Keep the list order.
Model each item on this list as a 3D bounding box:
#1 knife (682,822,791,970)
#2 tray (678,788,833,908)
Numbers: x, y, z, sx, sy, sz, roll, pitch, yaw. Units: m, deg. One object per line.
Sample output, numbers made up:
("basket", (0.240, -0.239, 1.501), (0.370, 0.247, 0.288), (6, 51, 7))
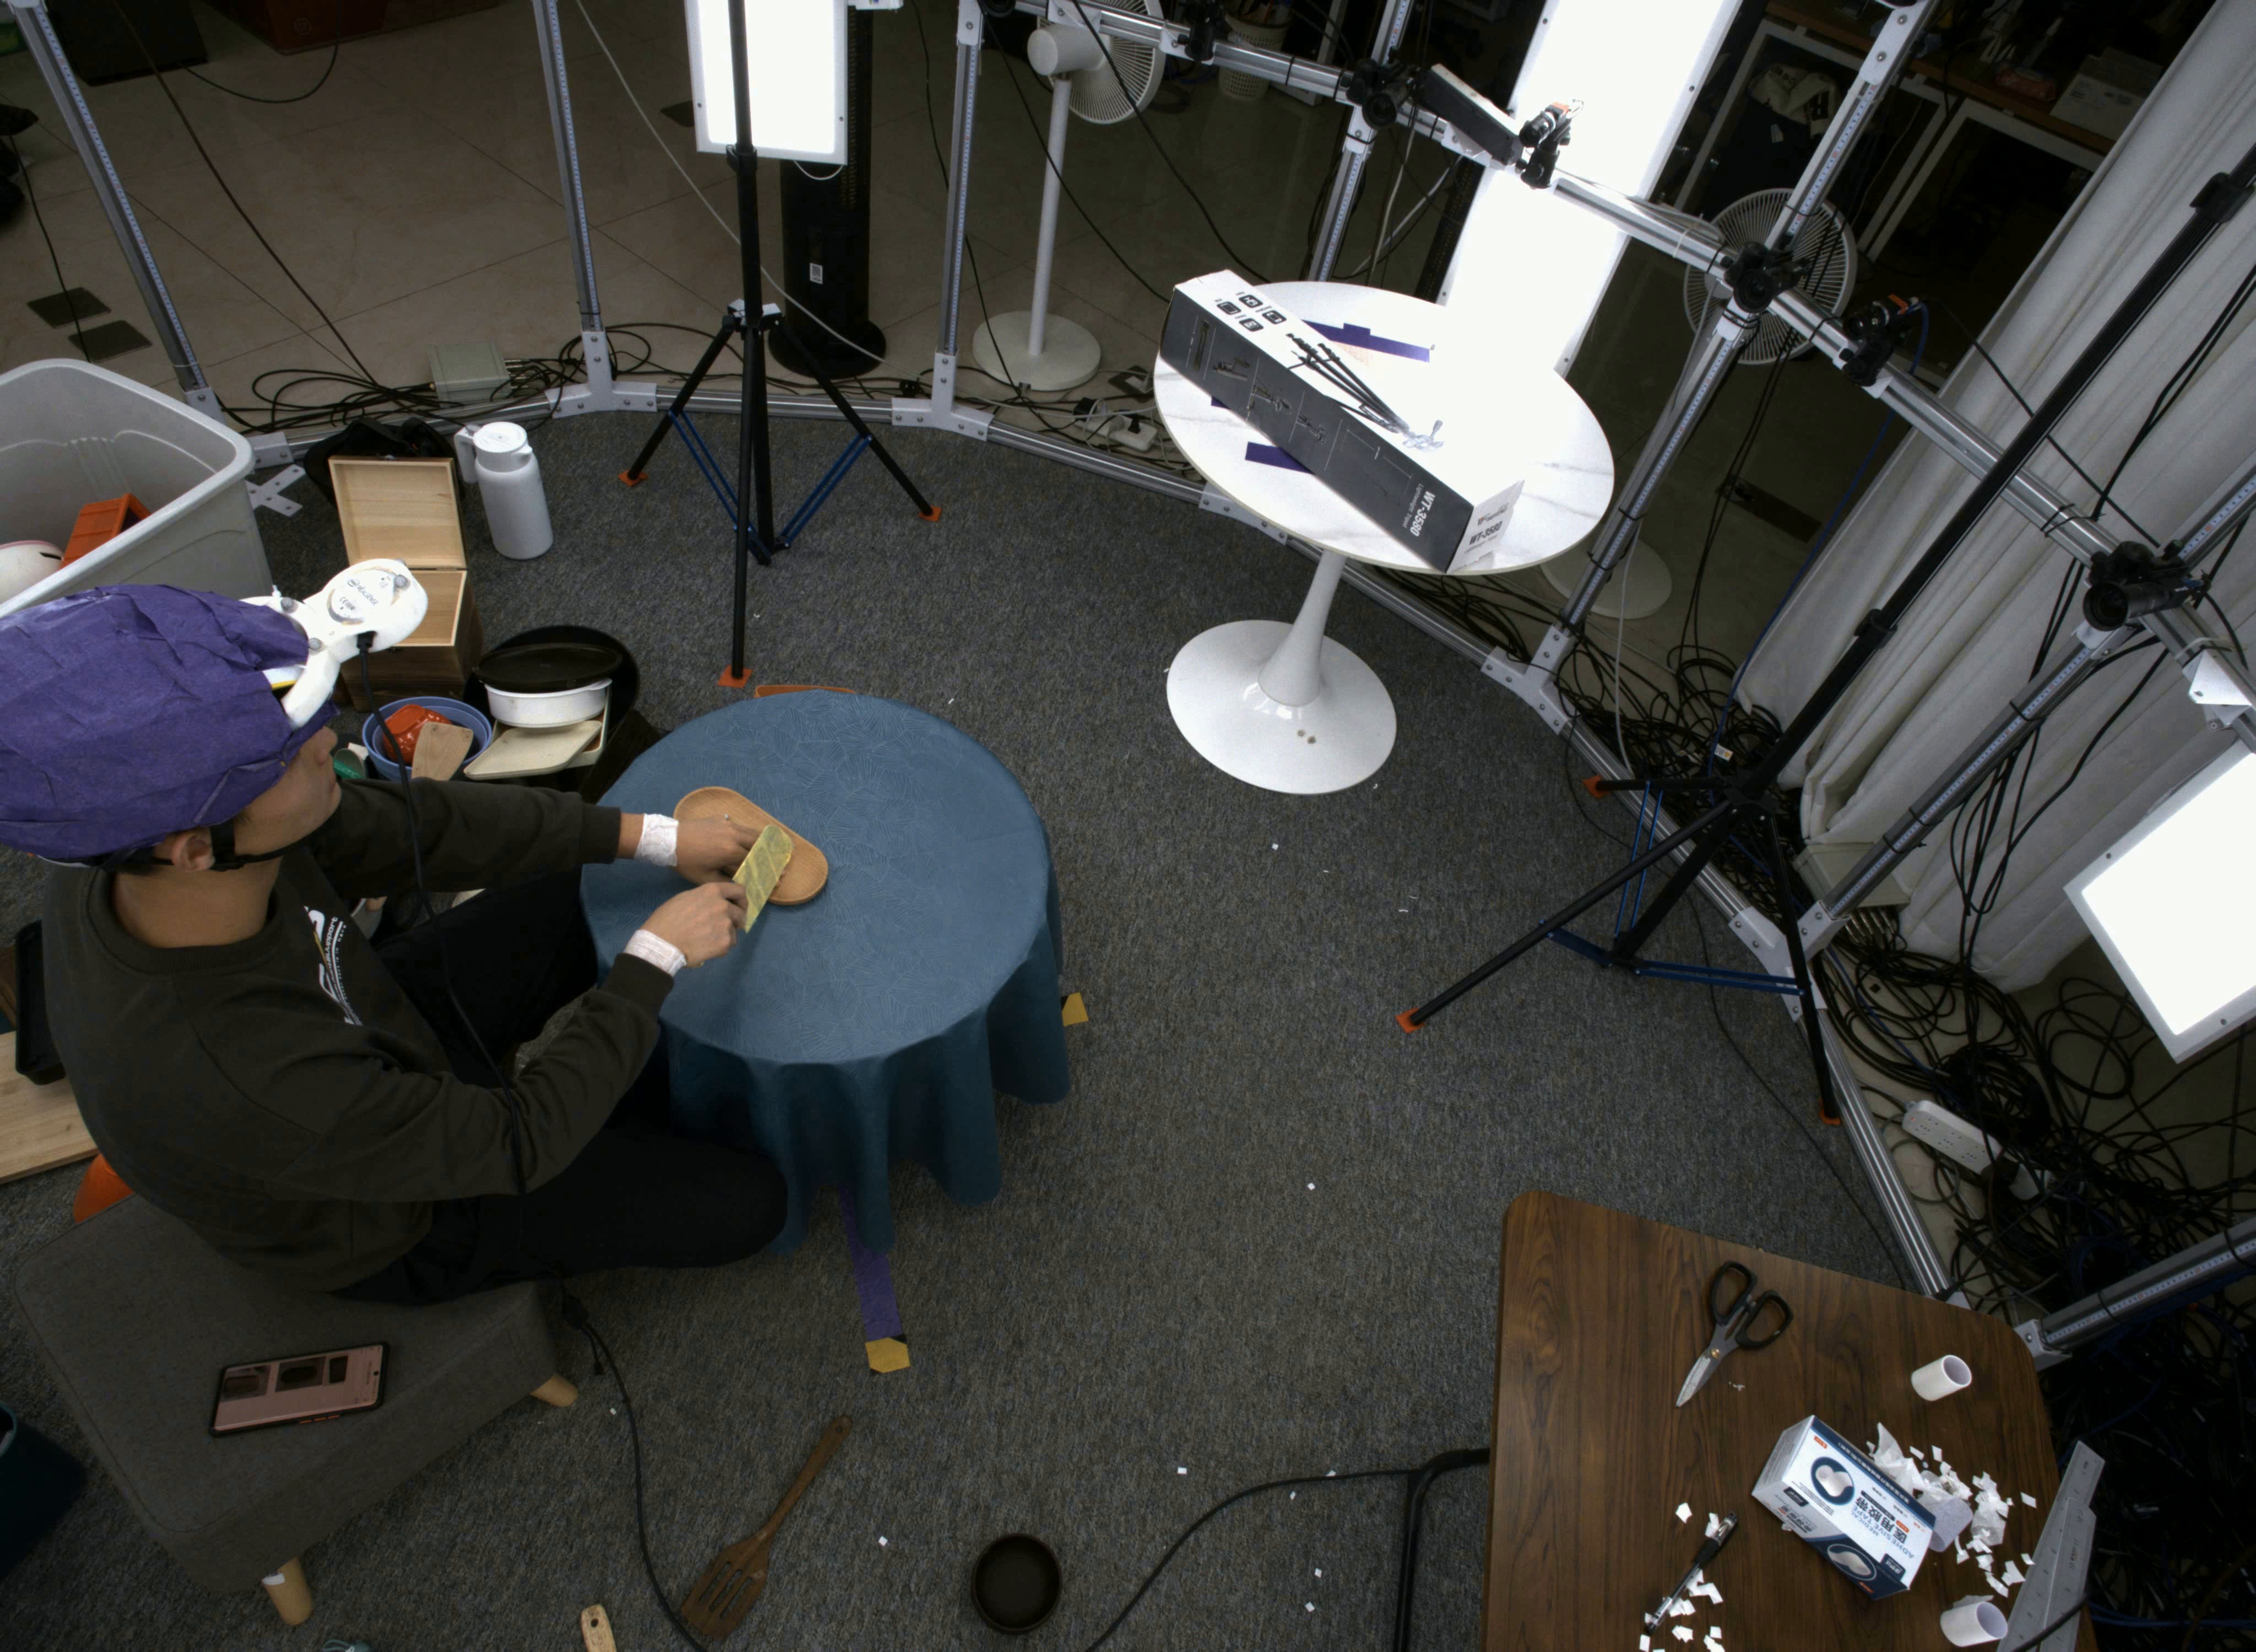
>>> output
("knife", (-0.464, 0.085, 1.564), (0.026, 0.084, 0.285), (-3, 32, 14))
("tray", (-0.487, 0.026, 1.689), (0.227, 0.020, 0.101), (34, 55, 9))
